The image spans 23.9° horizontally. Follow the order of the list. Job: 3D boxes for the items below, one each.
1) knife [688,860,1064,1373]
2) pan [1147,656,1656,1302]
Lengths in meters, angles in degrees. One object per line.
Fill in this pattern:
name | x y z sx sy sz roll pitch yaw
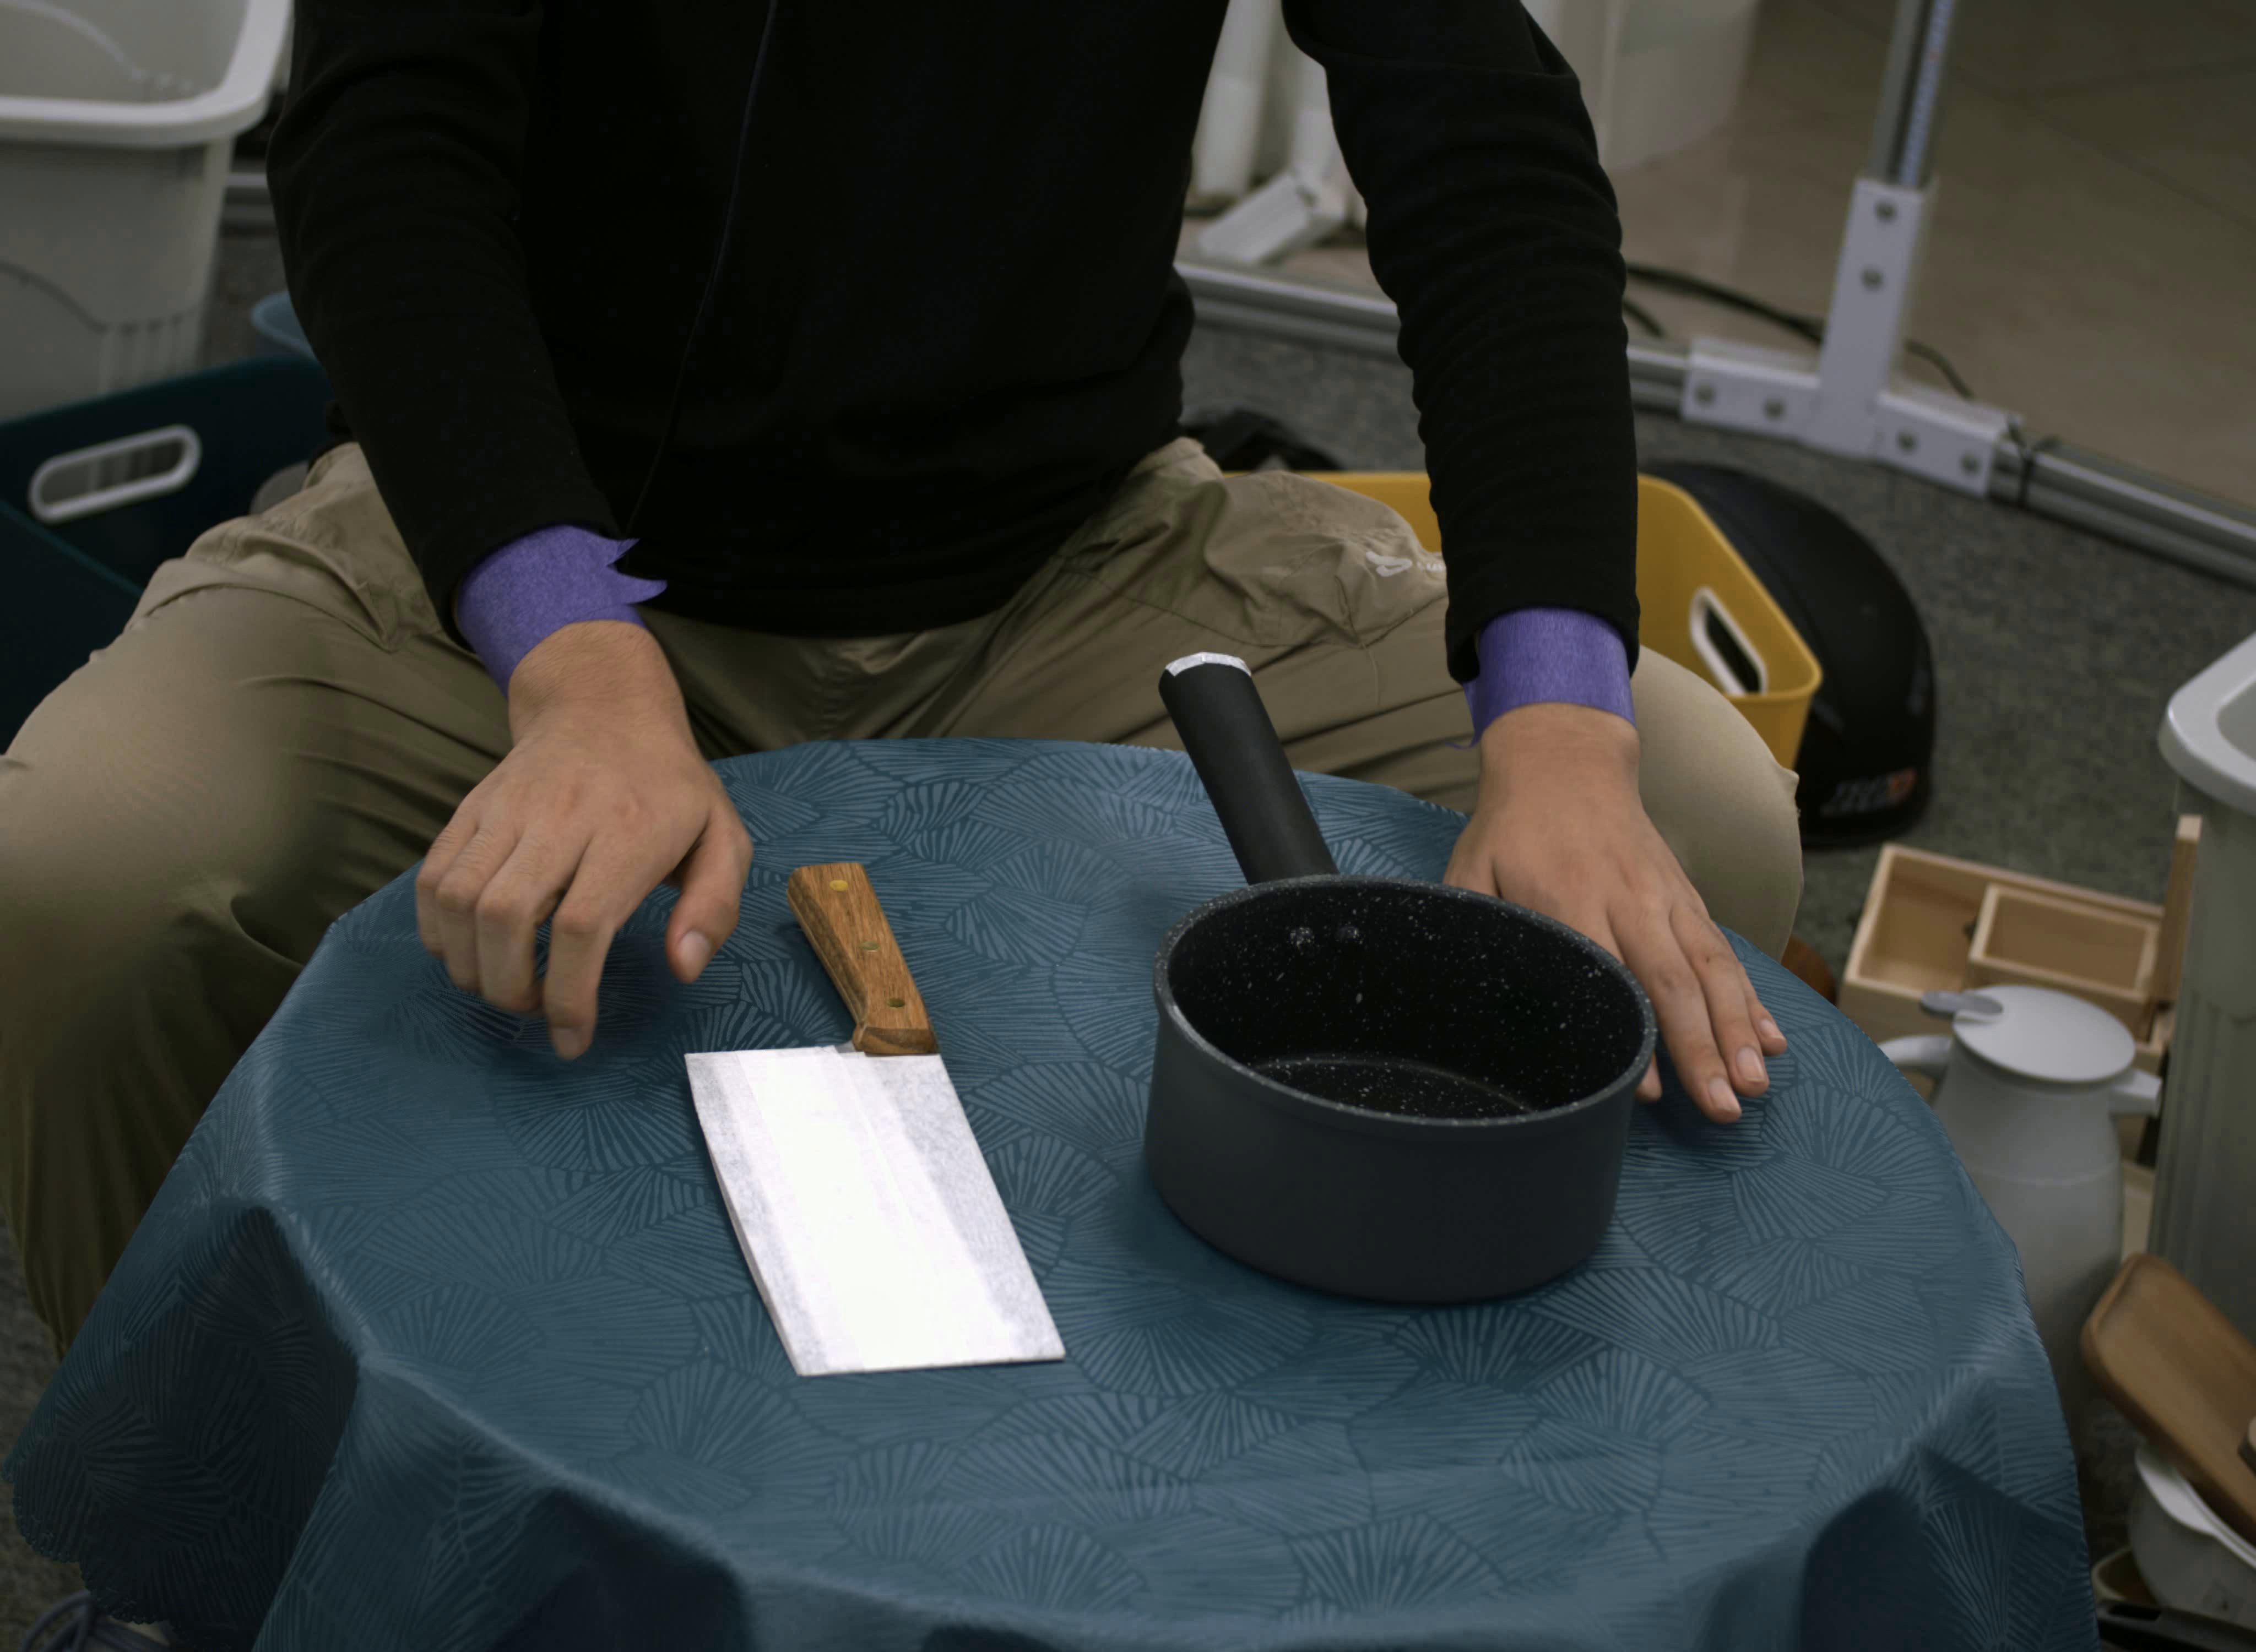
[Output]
knife | -0.099 0.096 1.820 0.092 0.021 0.308 -3 30 -15
pan | 0.071 0.050 1.876 0.171 0.086 0.331 0 28 -15
